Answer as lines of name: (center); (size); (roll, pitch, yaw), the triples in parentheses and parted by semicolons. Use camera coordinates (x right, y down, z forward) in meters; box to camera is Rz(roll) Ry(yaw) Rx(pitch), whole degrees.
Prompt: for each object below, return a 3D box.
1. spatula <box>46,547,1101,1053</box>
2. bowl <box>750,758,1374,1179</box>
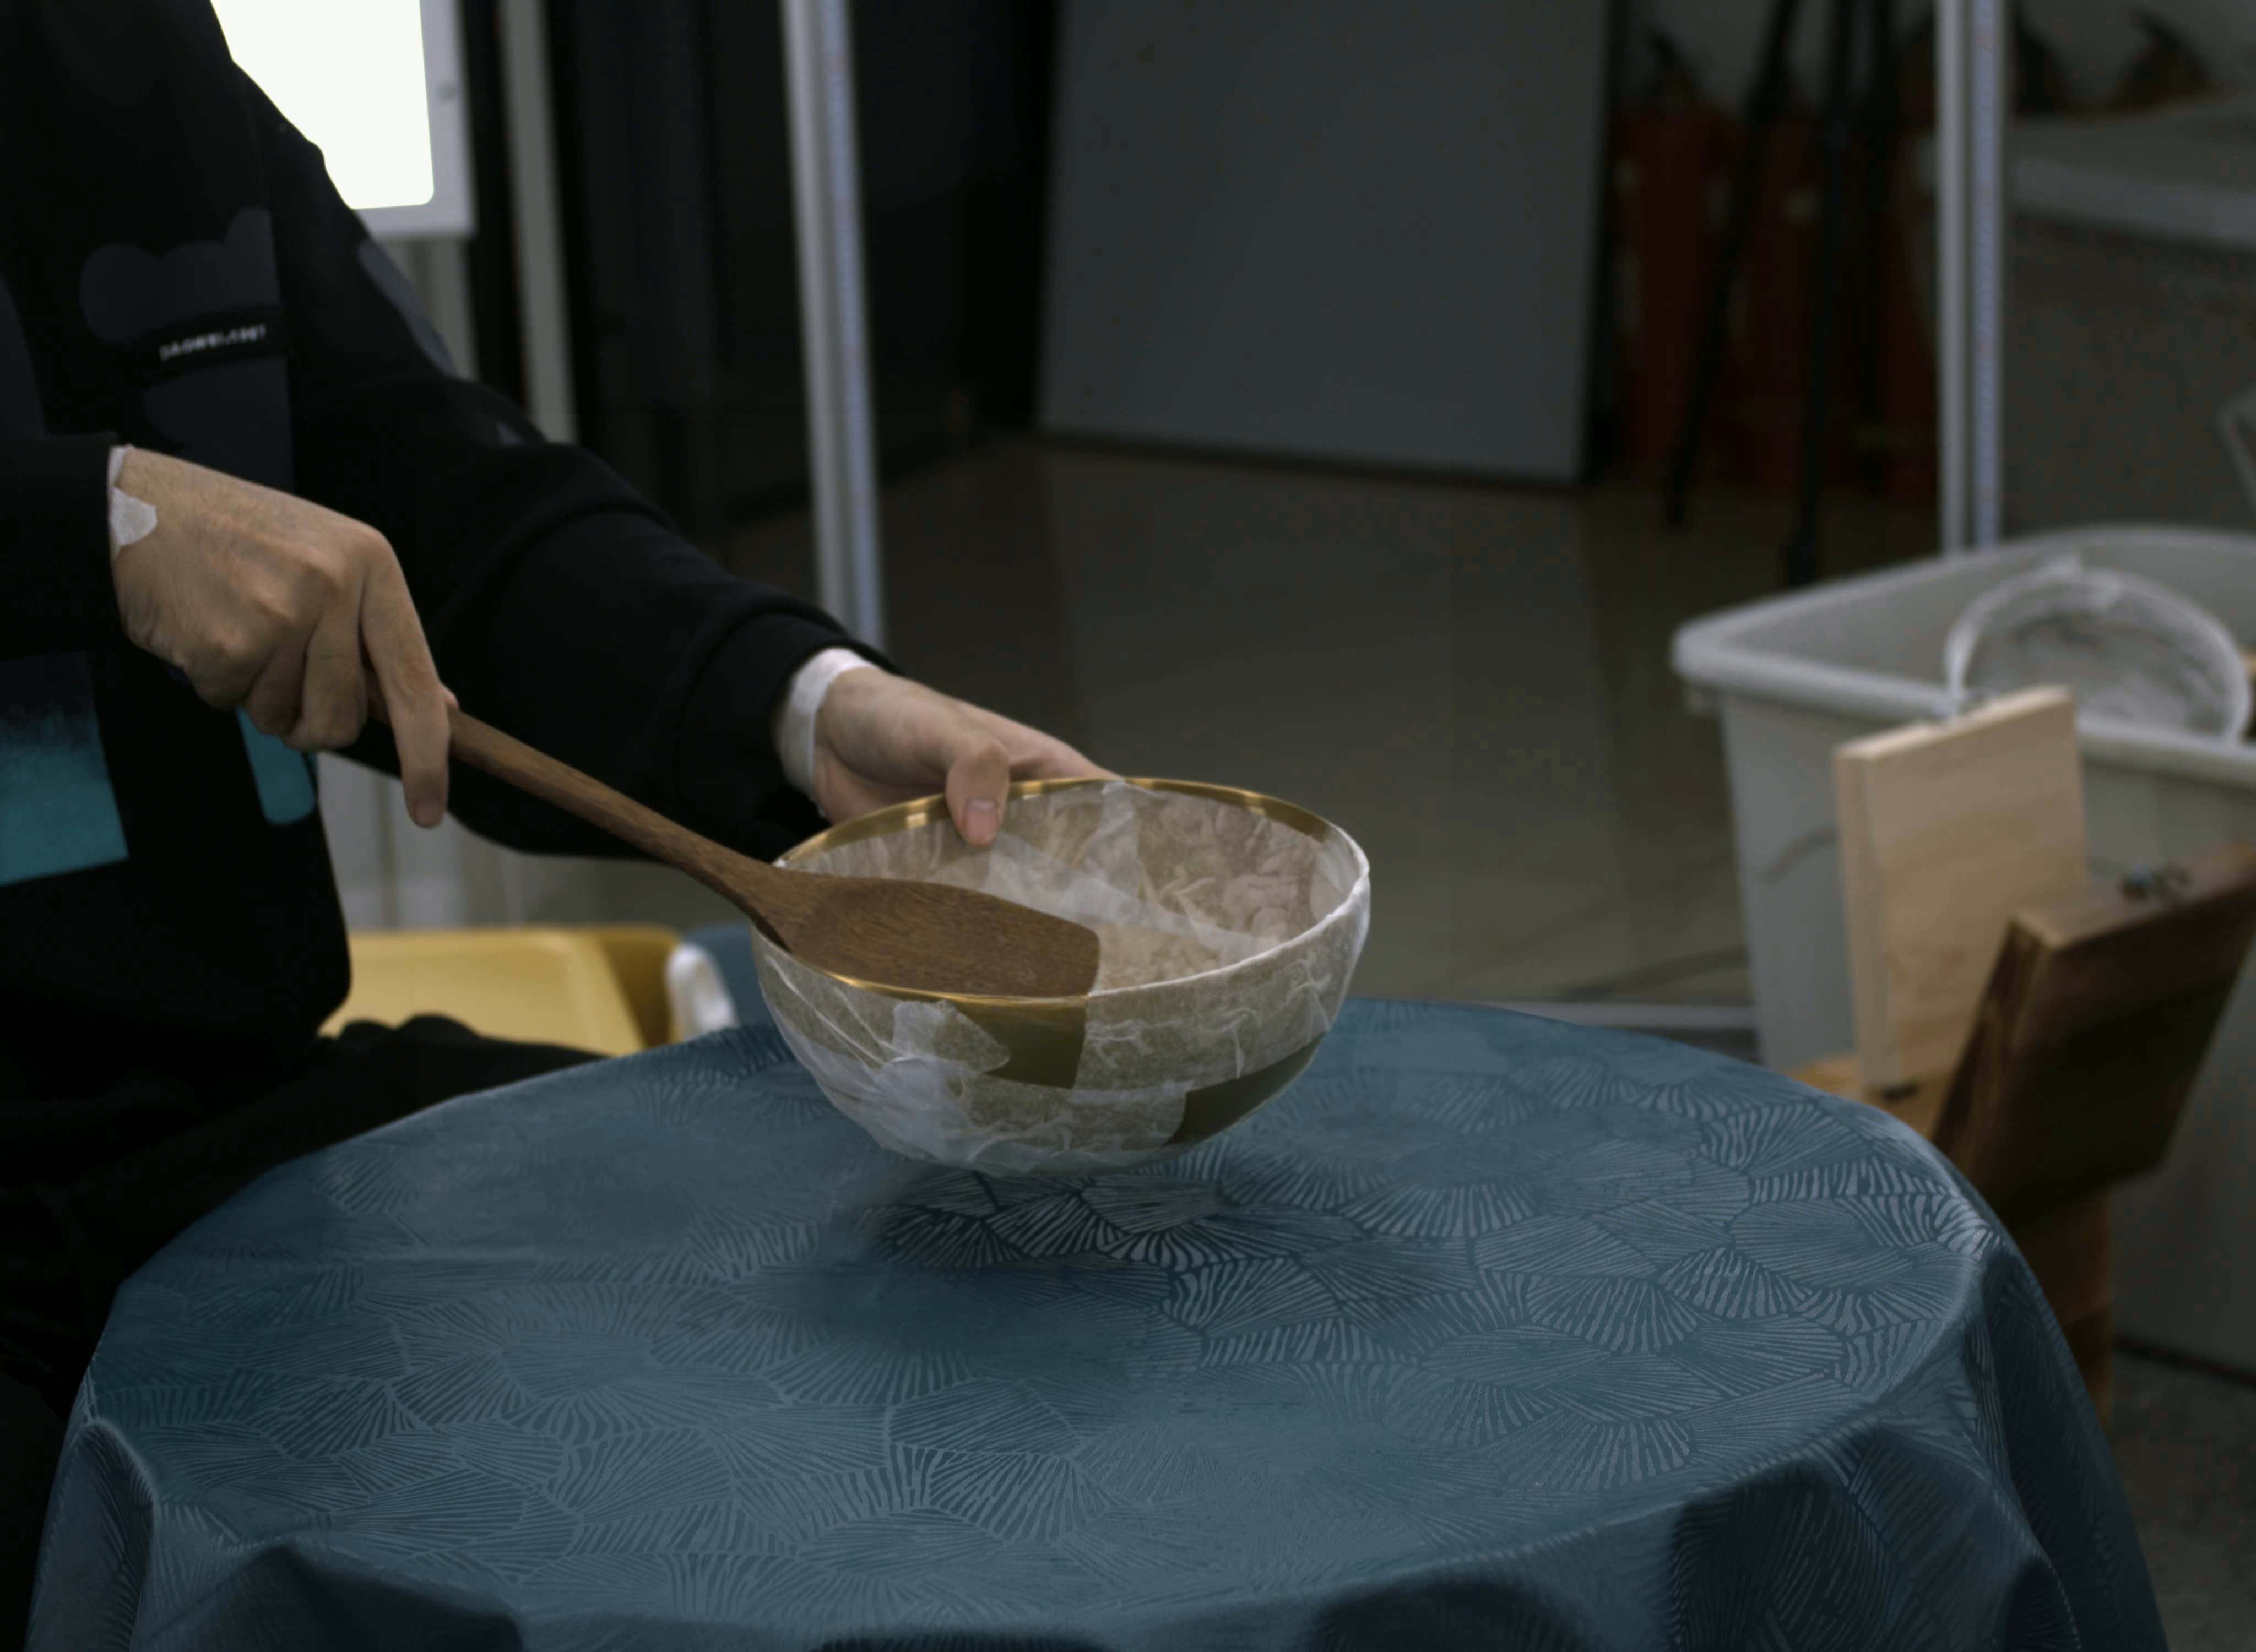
spatula: (-0.185, -0.015, 1.737); (0.386, 0.016, 0.095); (24, 31, 16)
bowl: (-0.021, 0.055, 1.741); (0.212, 0.095, 0.215); (-4, 21, 0)
